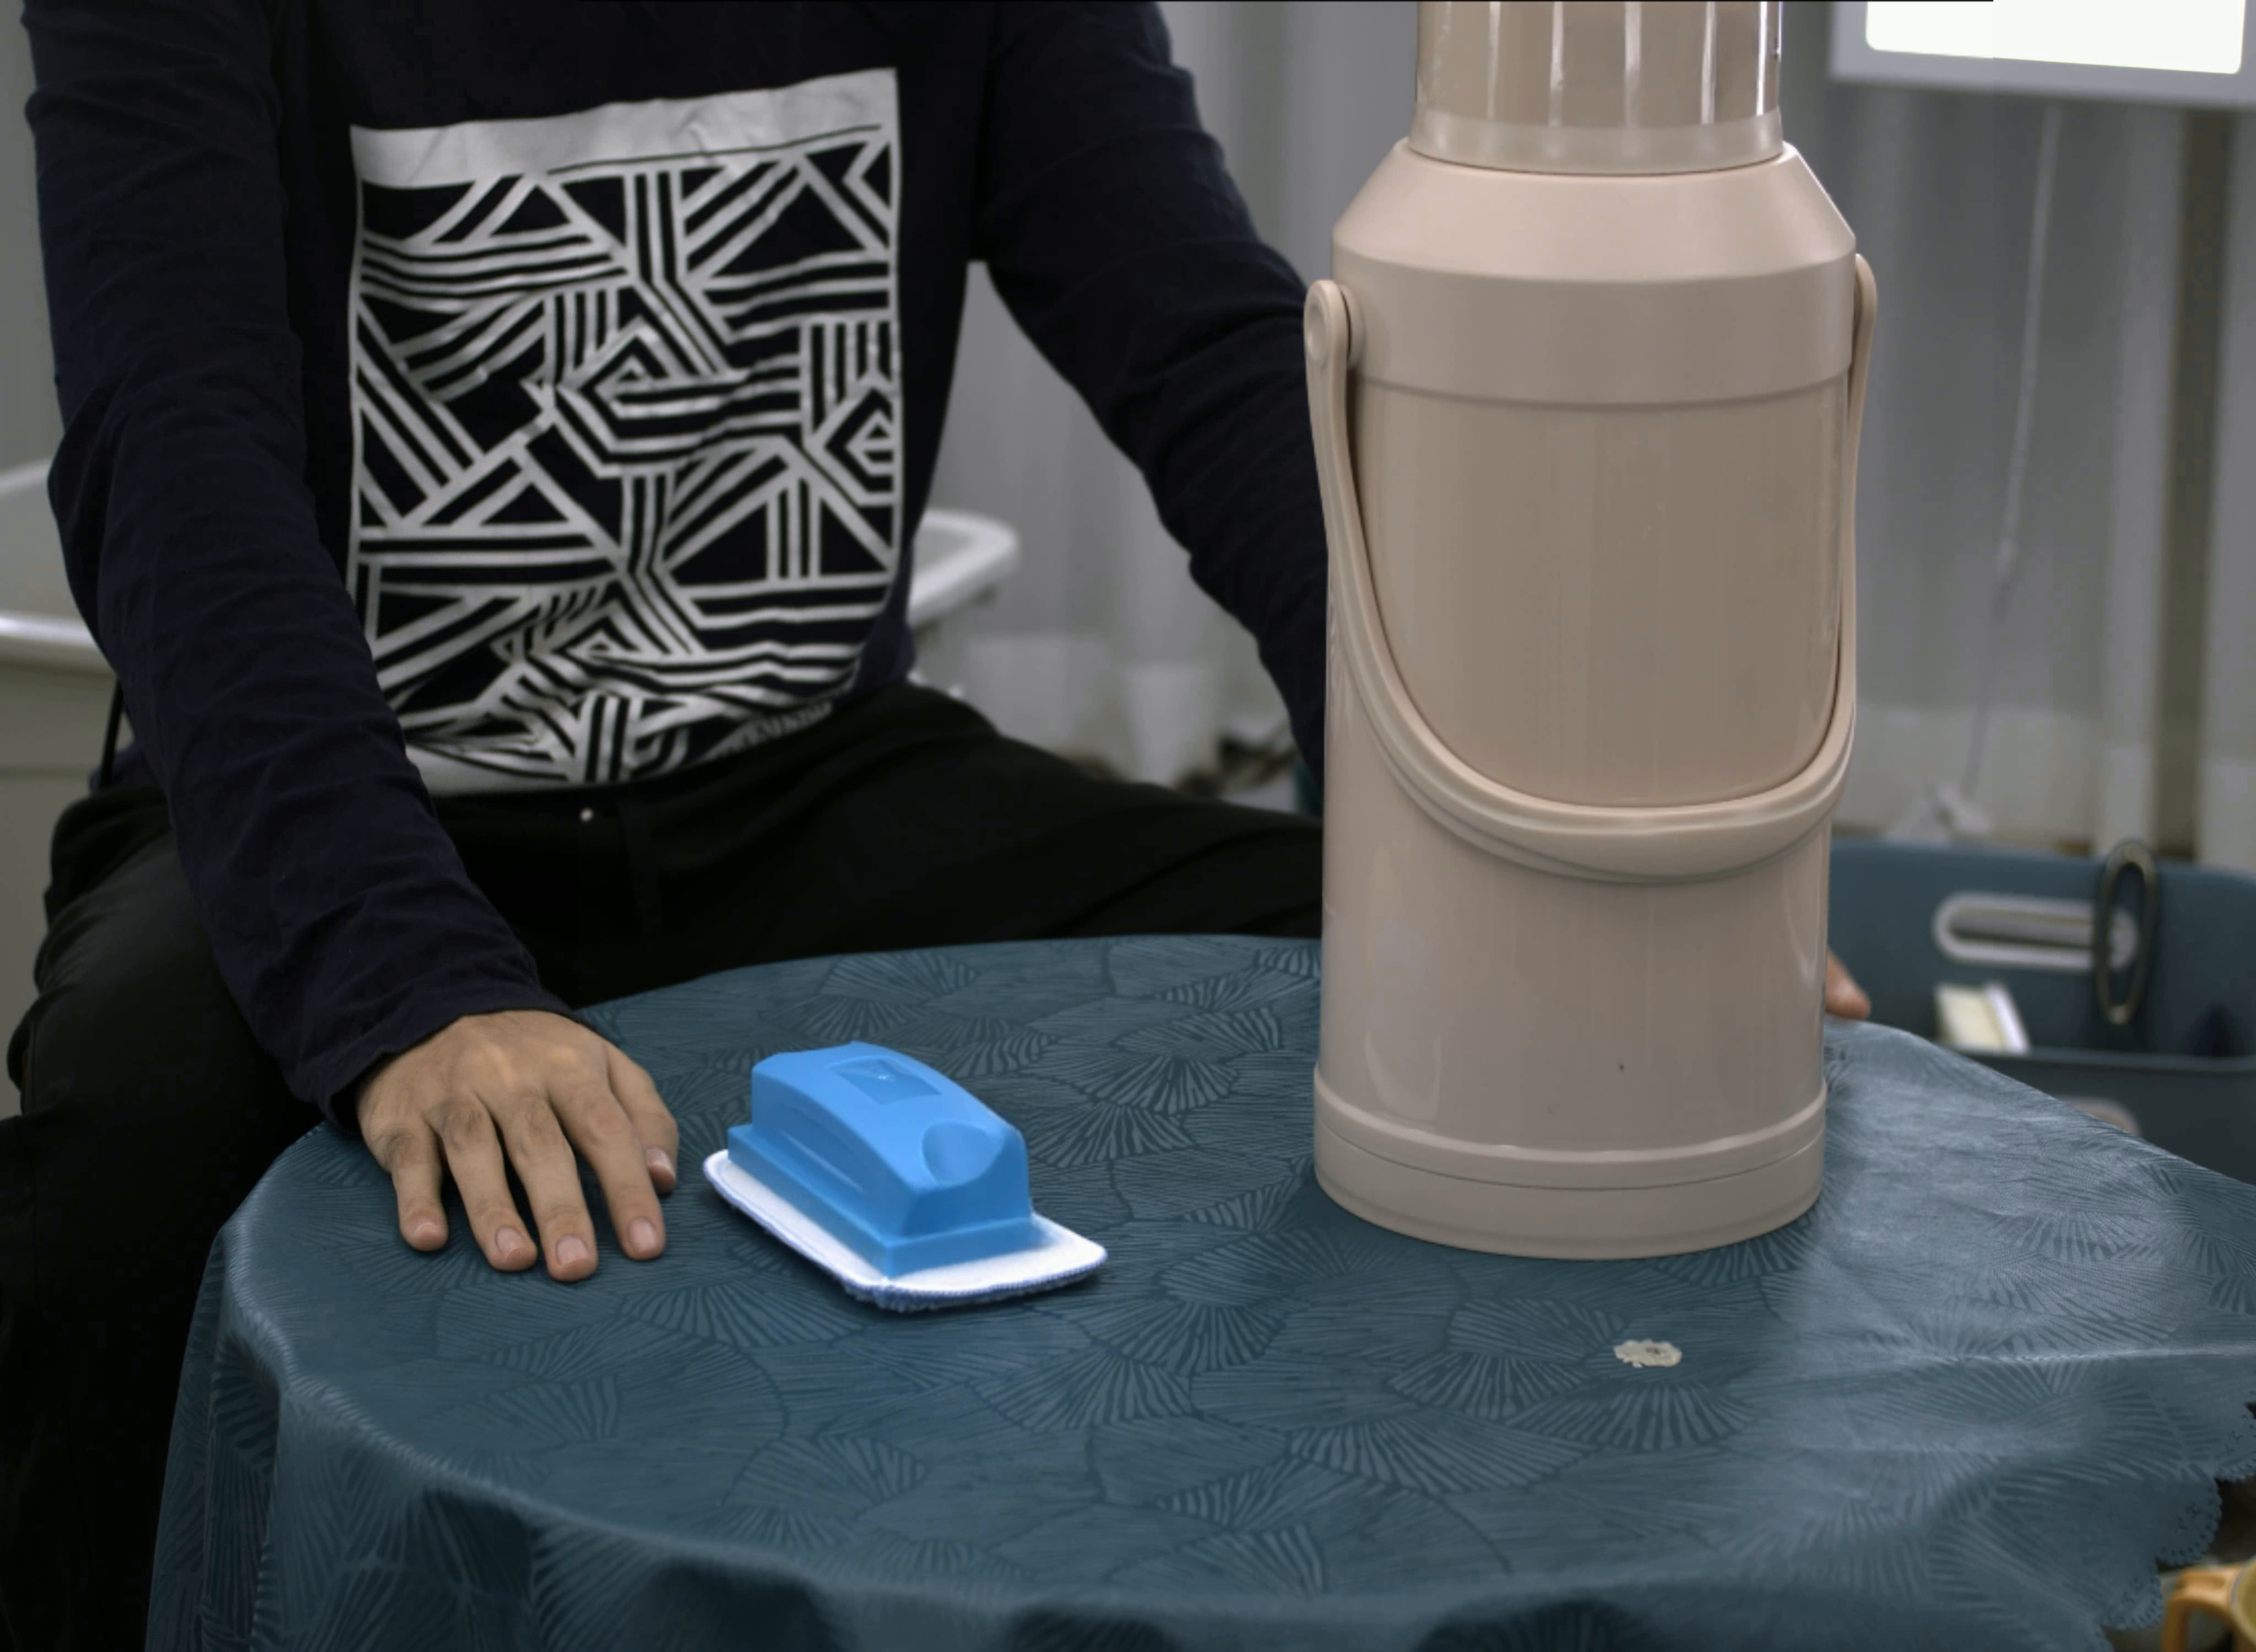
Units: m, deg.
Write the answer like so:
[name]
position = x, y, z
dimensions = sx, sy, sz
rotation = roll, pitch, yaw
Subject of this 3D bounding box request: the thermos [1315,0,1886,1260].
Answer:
[thermos]
position = 0.139, -0.086, 1.601
dimensions = 0.175, 0.410, 0.205
rotation = -7, 17, -18

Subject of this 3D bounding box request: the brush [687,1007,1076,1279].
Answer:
[brush]
position = -0.073, 0.092, 1.579
dimensions = 0.084, 0.056, 0.142
rotation = -4, 19, -25
